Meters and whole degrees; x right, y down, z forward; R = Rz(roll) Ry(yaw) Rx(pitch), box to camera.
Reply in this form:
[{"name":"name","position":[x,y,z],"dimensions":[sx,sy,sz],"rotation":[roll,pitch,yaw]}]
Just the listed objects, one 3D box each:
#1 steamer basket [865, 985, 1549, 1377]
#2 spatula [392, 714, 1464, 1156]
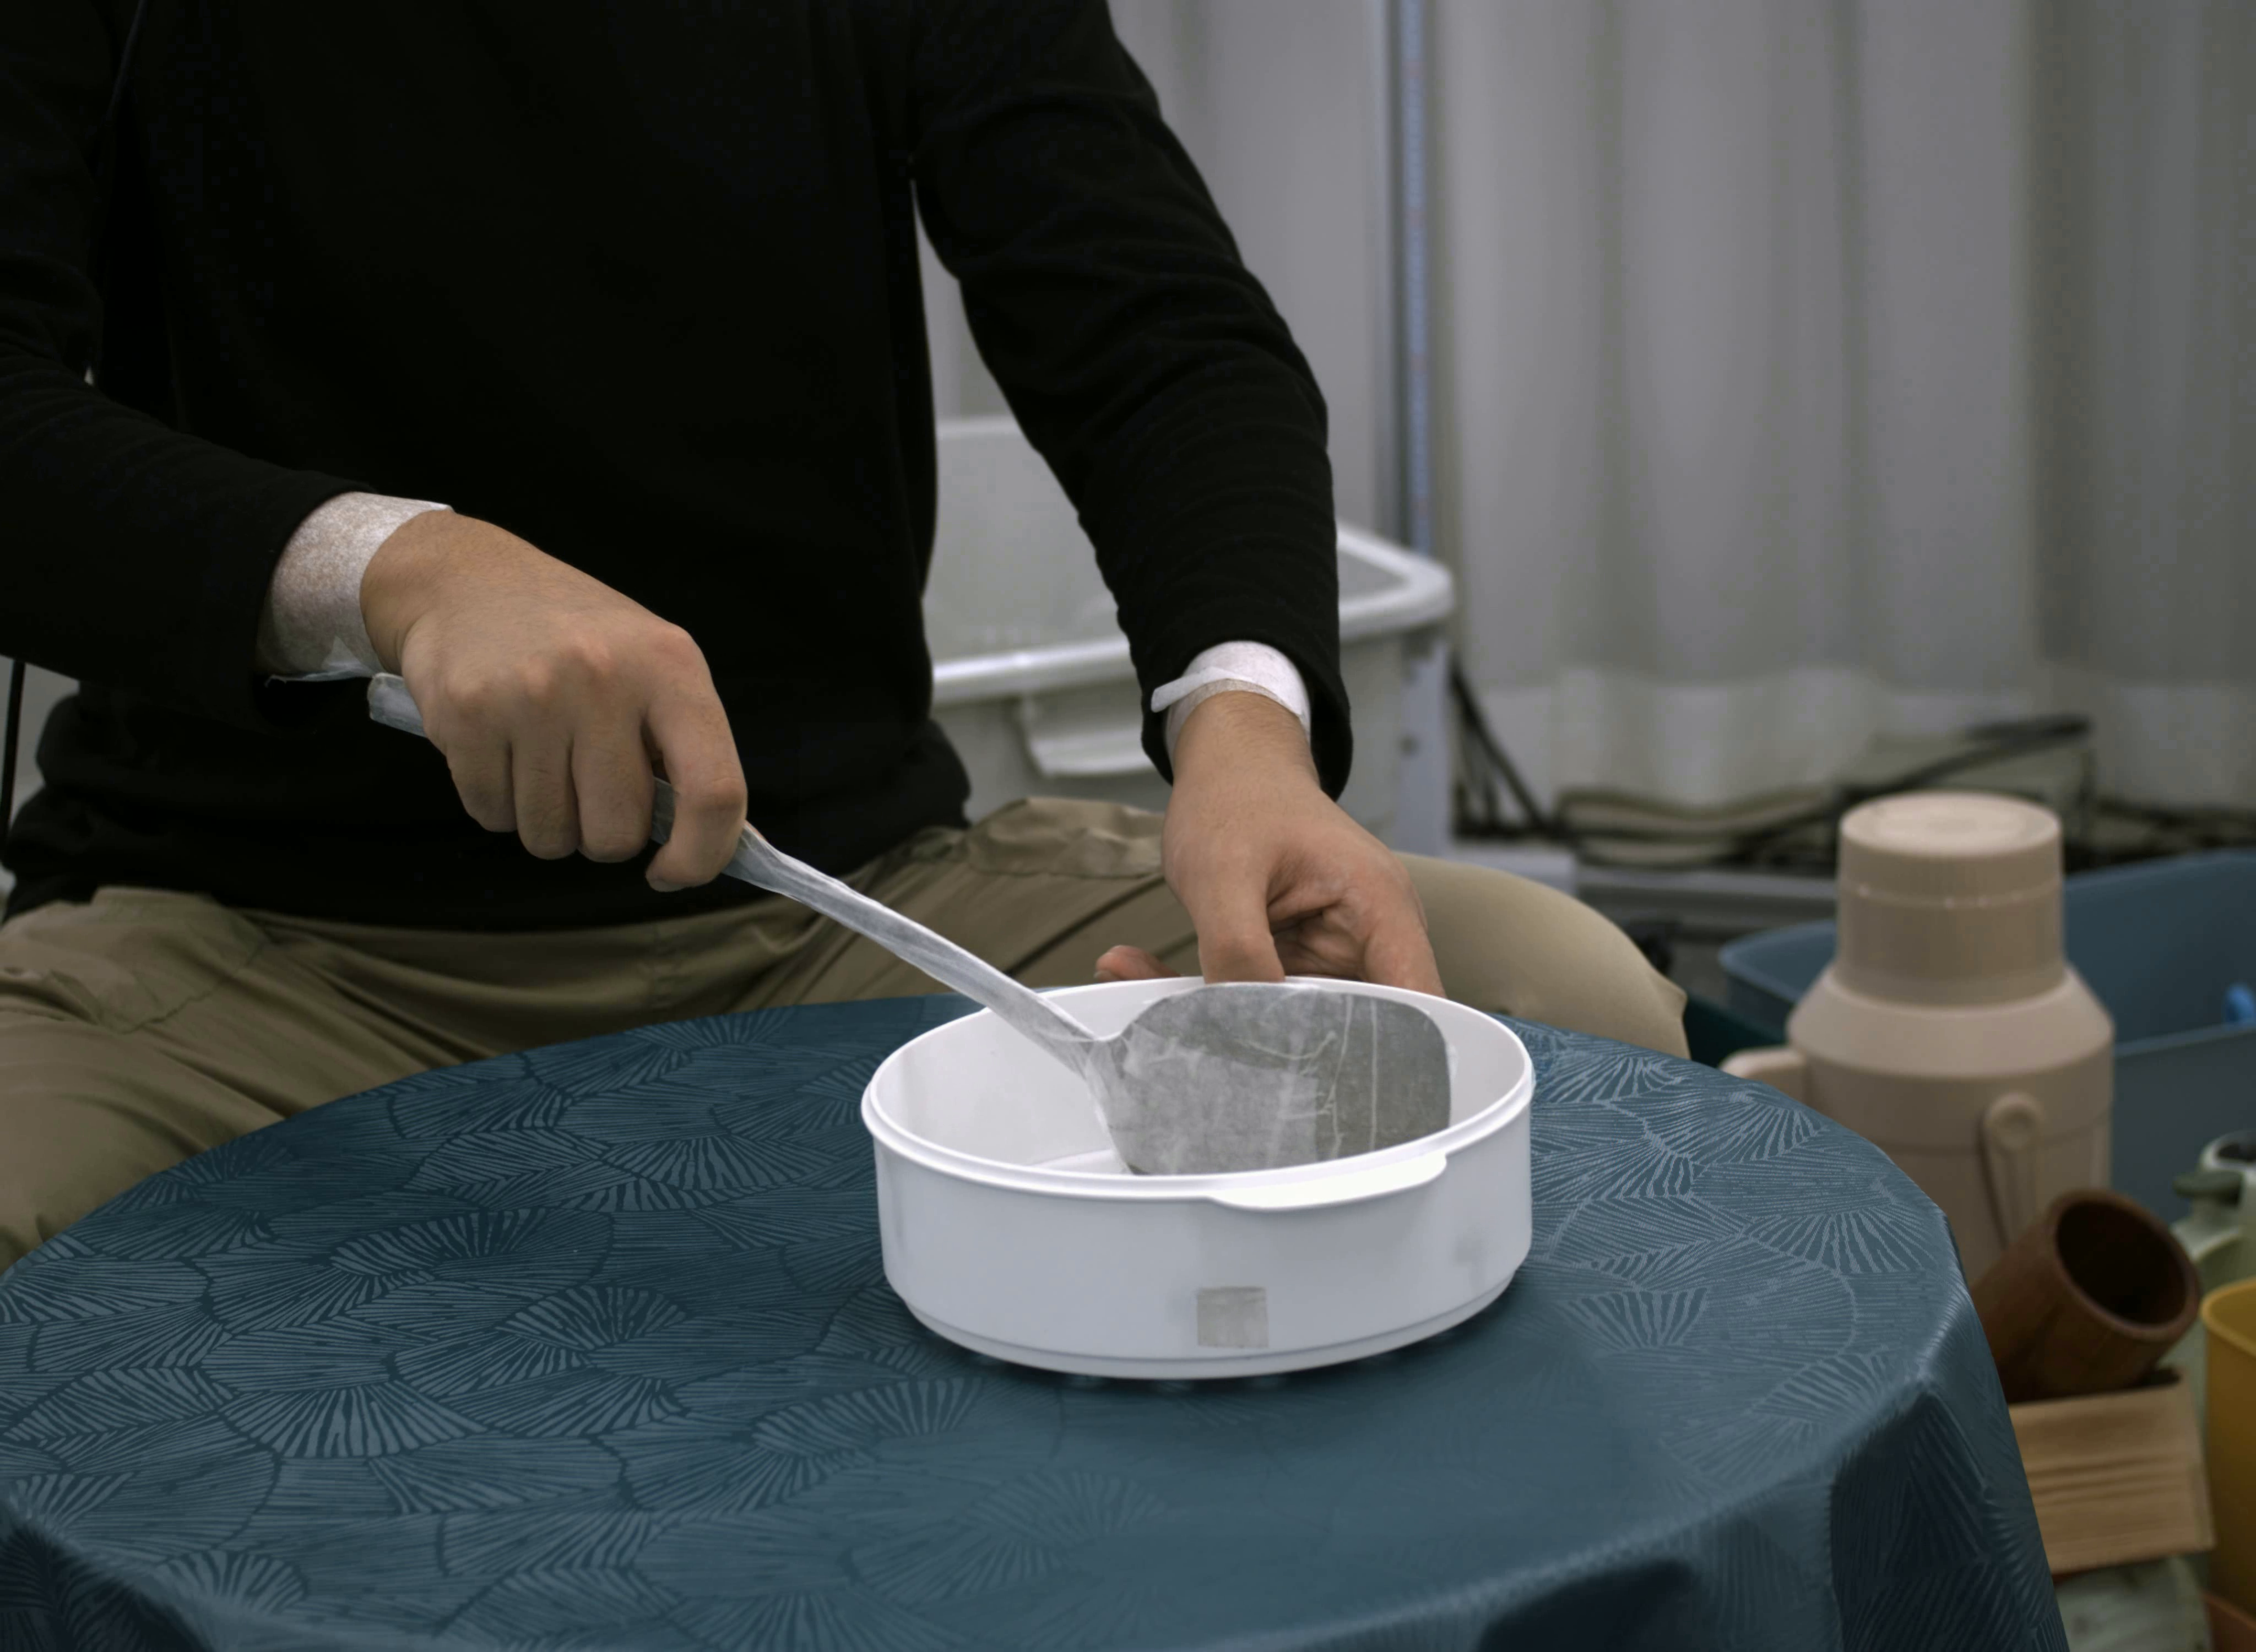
[{"name":"steamer basket","position":[0.024,0.104,1.614],"dimensions":[0.201,0.069,0.232],"rotation":[-7,14,-20]},{"name":"spatula","position":[-0.066,0.032,1.640],"dimensions":[0.367,0.097,0.045],"rotation":[26,38,23]}]
